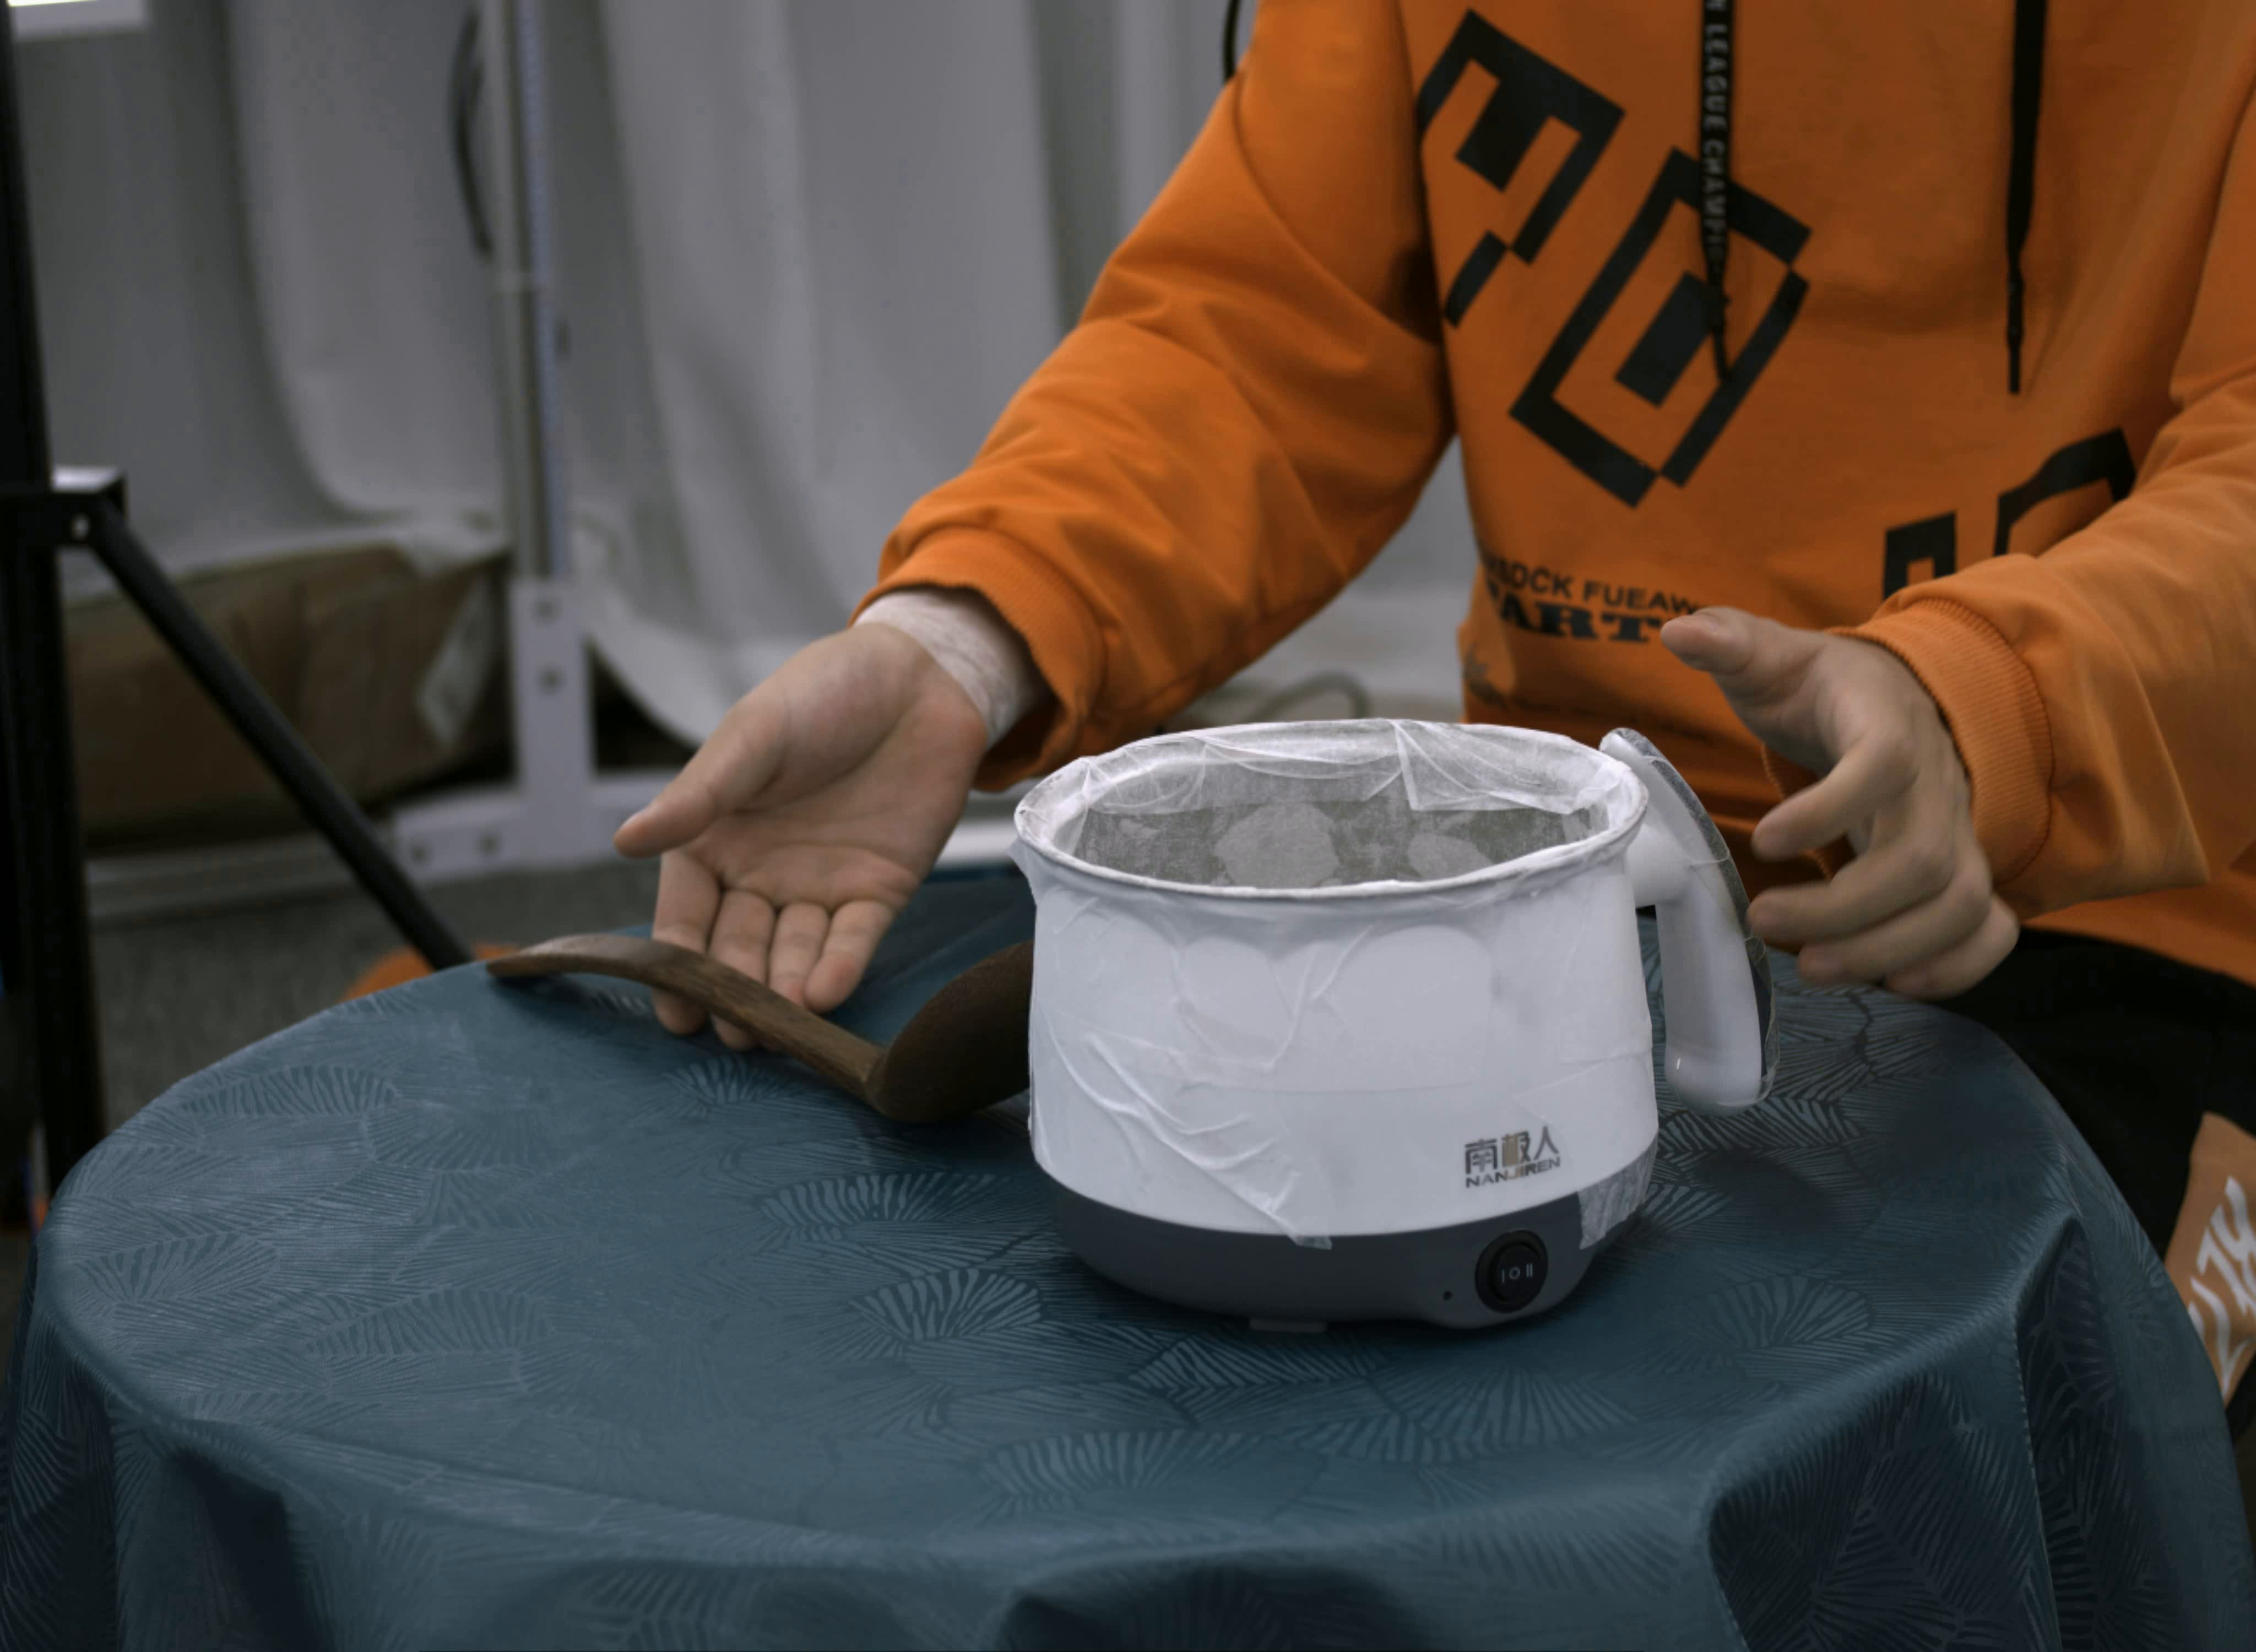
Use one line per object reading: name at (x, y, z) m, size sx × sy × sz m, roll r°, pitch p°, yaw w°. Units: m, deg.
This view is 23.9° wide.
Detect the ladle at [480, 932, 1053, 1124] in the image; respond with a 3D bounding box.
ladle at (-0.118, 0.041, 1.685) m, size 0.074 × 0.071 × 0.280 m, roll -13°, pitch 20°, yaw -39°

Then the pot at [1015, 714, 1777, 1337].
pot at (0.083, 0.049, 1.500) m, size 0.228 × 0.136 × 0.182 m, roll -12°, pitch 18°, yaw -28°
